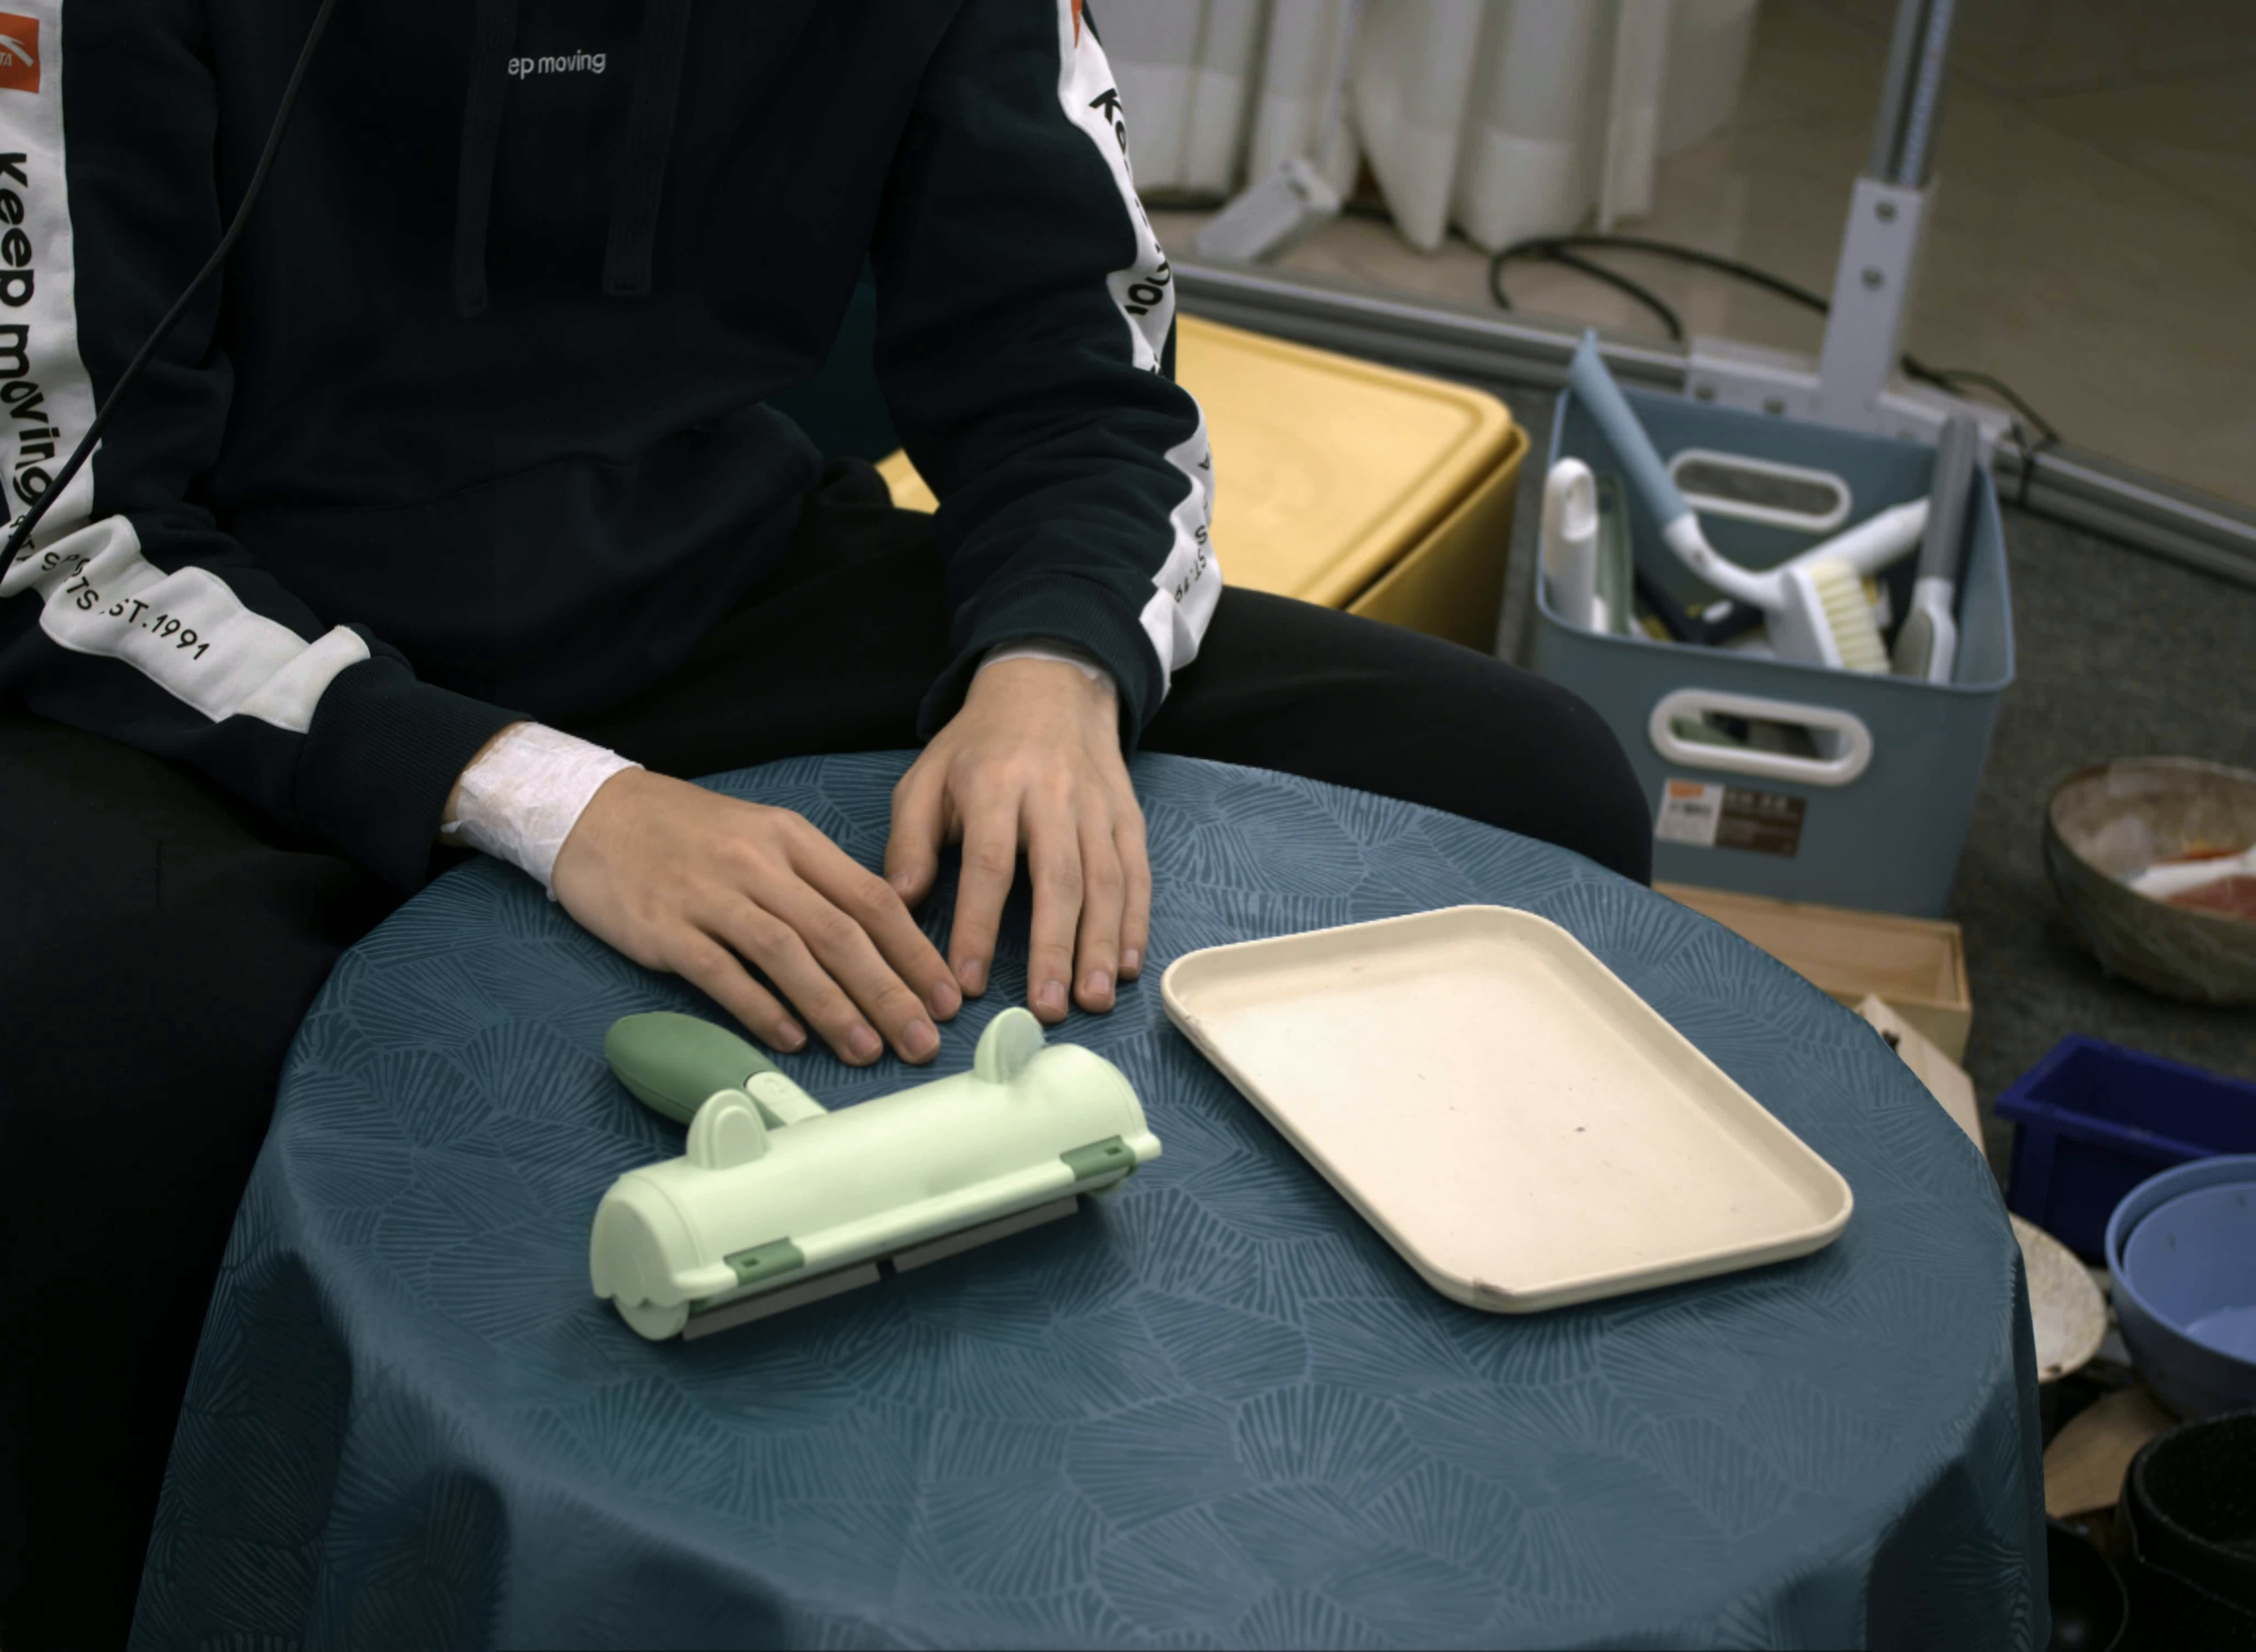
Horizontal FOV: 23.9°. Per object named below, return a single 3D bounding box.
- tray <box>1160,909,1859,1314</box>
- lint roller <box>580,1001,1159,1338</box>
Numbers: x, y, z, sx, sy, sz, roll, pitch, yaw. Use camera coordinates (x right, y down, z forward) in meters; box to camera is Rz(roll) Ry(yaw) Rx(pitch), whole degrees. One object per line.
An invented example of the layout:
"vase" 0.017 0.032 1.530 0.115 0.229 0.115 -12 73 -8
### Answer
"tray" 0.130 0.098 1.858 0.170 0.017 0.242 -8 30 -28
"lint roller" -0.116 0.085 1.763 0.197 0.082 0.185 -15 38 -36
